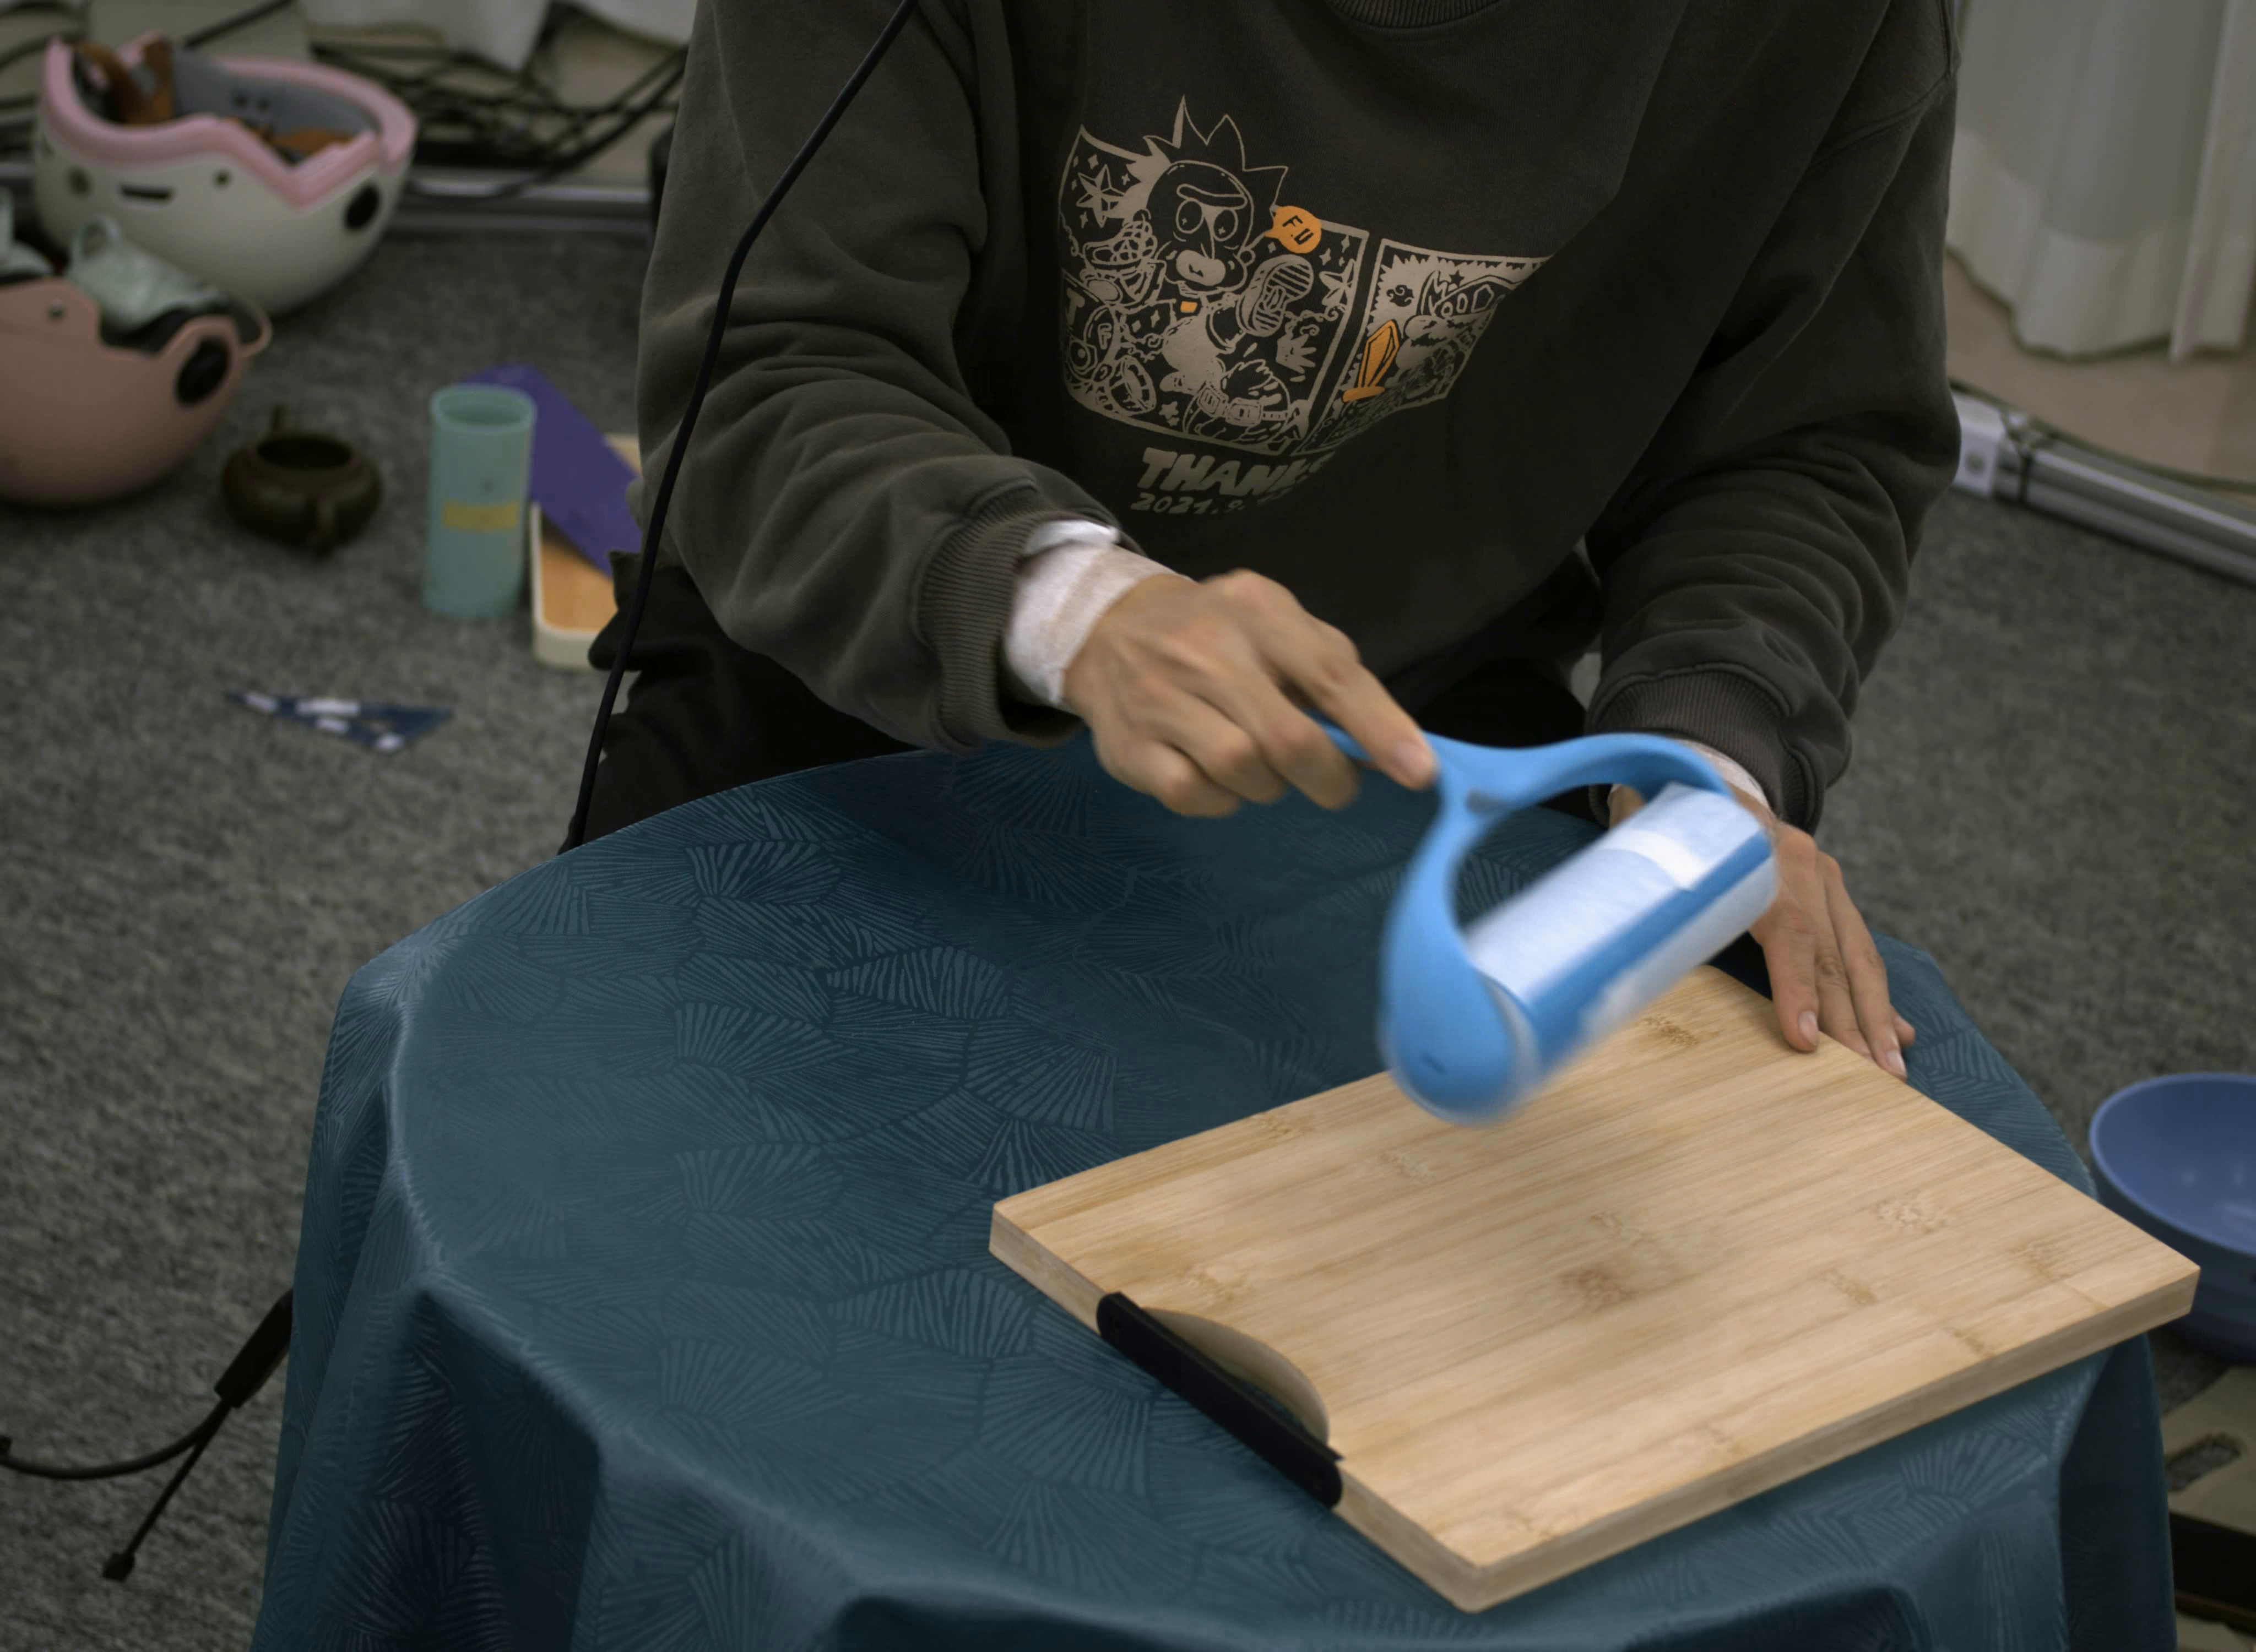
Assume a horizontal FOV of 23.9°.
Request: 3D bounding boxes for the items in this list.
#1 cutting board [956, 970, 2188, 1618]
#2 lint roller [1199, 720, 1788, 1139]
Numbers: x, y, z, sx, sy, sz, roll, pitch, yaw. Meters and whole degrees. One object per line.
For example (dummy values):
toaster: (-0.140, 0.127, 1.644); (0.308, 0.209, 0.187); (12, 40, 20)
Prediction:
cutting board: (0.152, 0.147, 1.775); (0.346, 0.023, 0.253); (-16, 34, -37)
lint roller: (0.106, 0.007, 1.726); (0.181, 0.068, 0.228); (35, 33, 11)
